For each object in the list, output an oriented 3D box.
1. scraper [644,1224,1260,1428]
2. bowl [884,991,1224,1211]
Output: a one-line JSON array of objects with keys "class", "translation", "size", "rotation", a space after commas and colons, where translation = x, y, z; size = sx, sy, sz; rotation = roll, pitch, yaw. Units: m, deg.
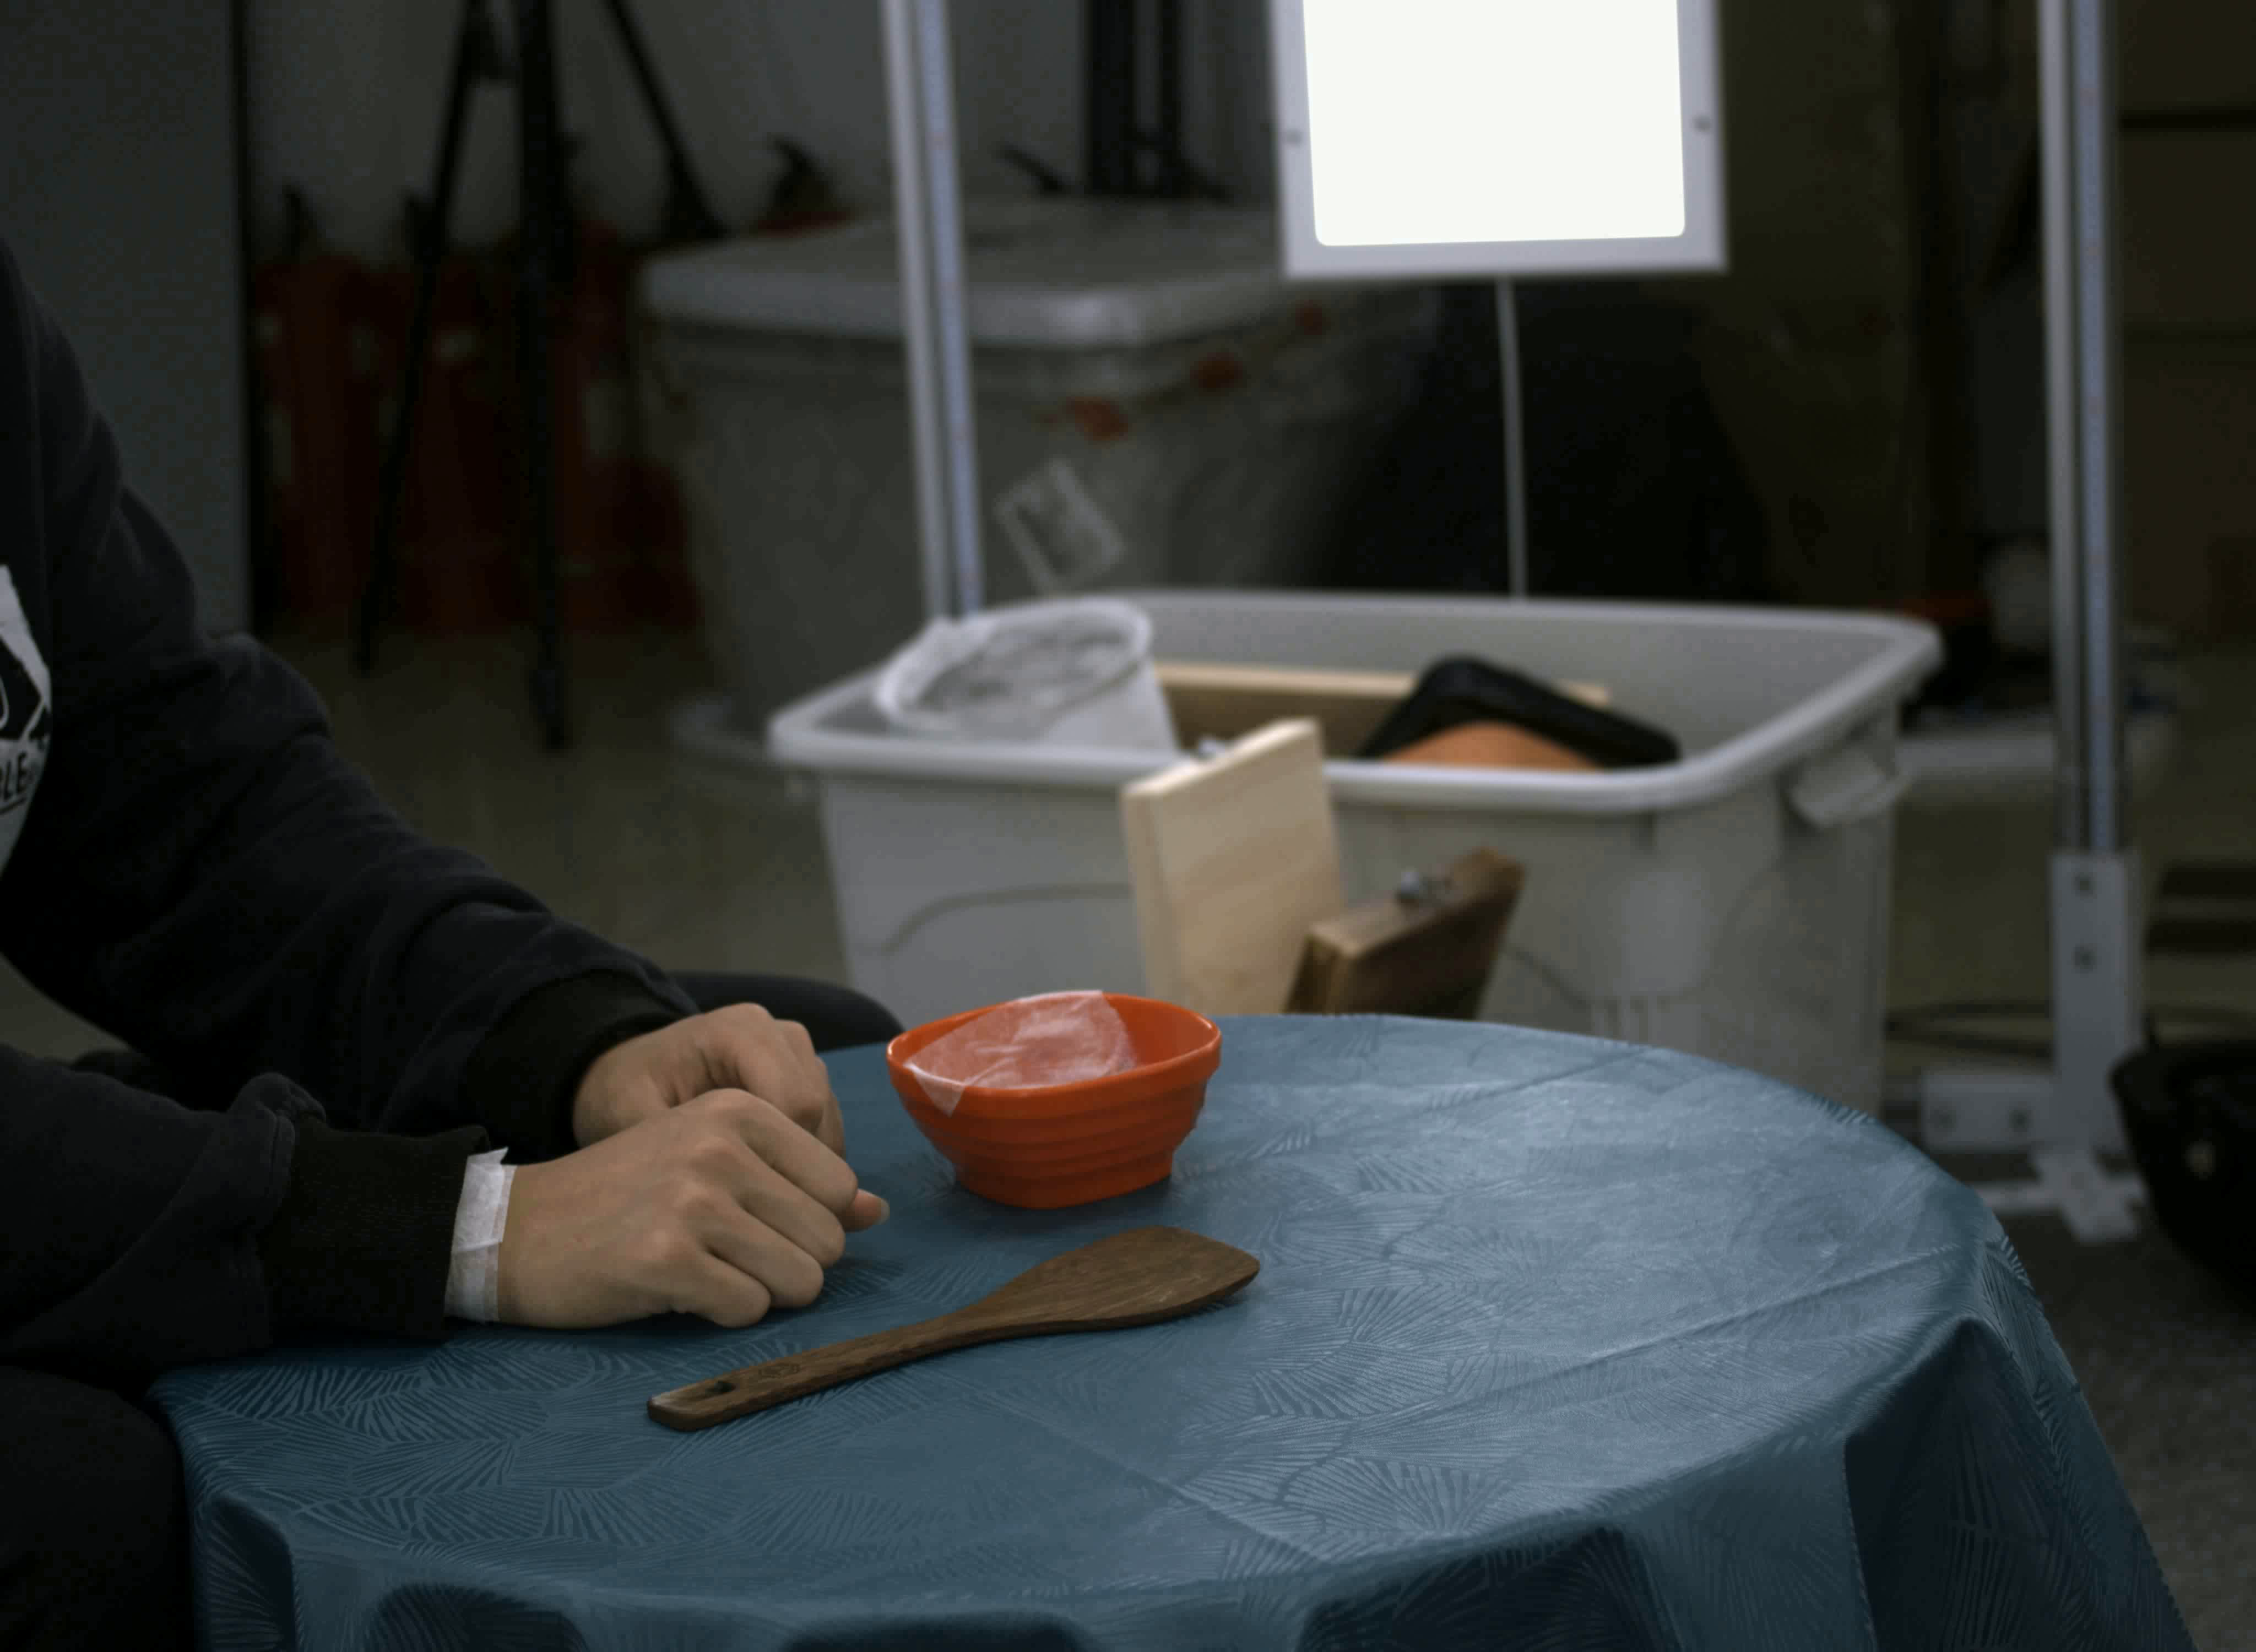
[{"class": "scraper", "translation": [-0.058, 0.162, 1.759], "size": [0.206, 0.011, 0.077], "rotation": [-14, 15, -29]}, {"class": "bowl", "translation": [-0.025, 0.098, 1.917], "size": [0.118, 0.051, 0.119], "rotation": [-3, 15, -1]}]
